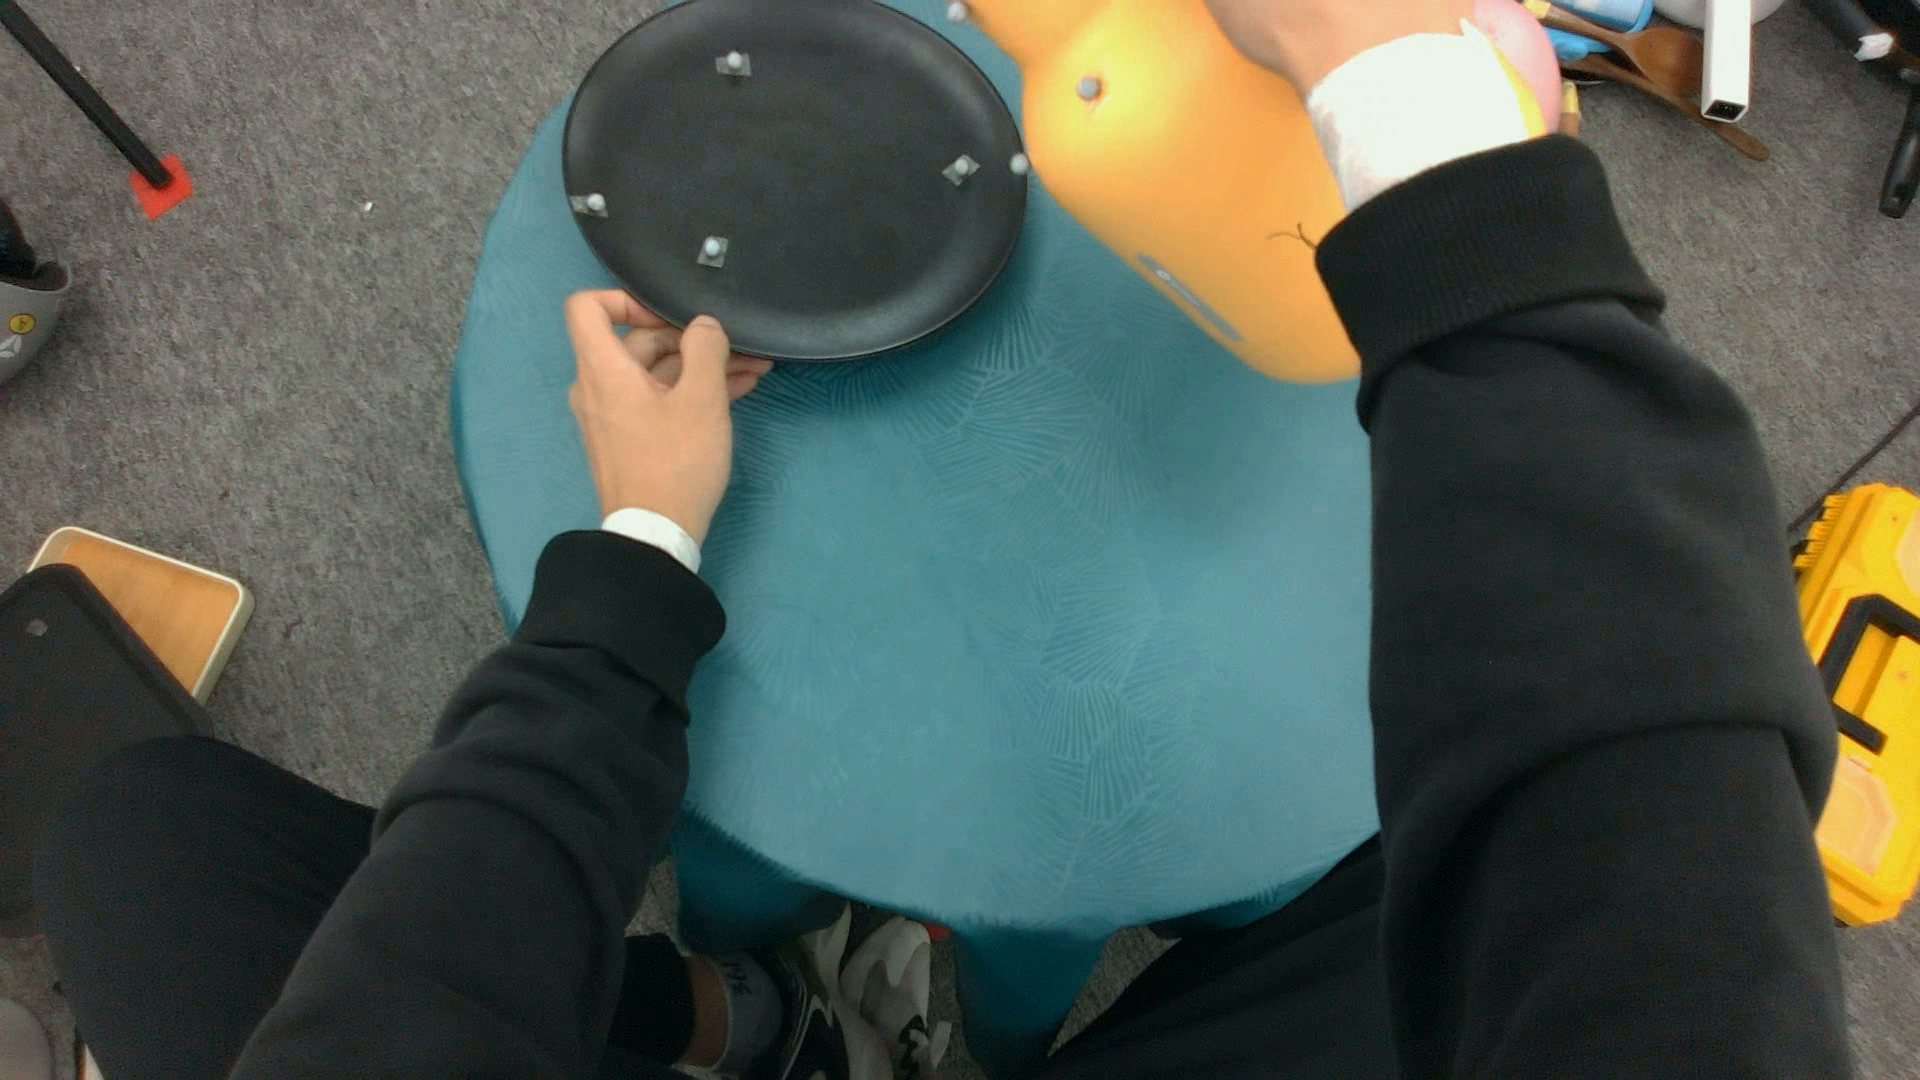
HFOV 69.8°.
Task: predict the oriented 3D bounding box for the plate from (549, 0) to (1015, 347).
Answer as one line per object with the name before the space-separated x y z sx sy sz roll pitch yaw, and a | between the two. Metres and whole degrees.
plate | -0.092 -0.202 0.733 0.244 0.023 0.245 4 65 -8

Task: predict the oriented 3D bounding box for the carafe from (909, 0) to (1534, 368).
carafe | 0.105 -0.194 0.556 0.260 0.202 0.163 30 84 -19
